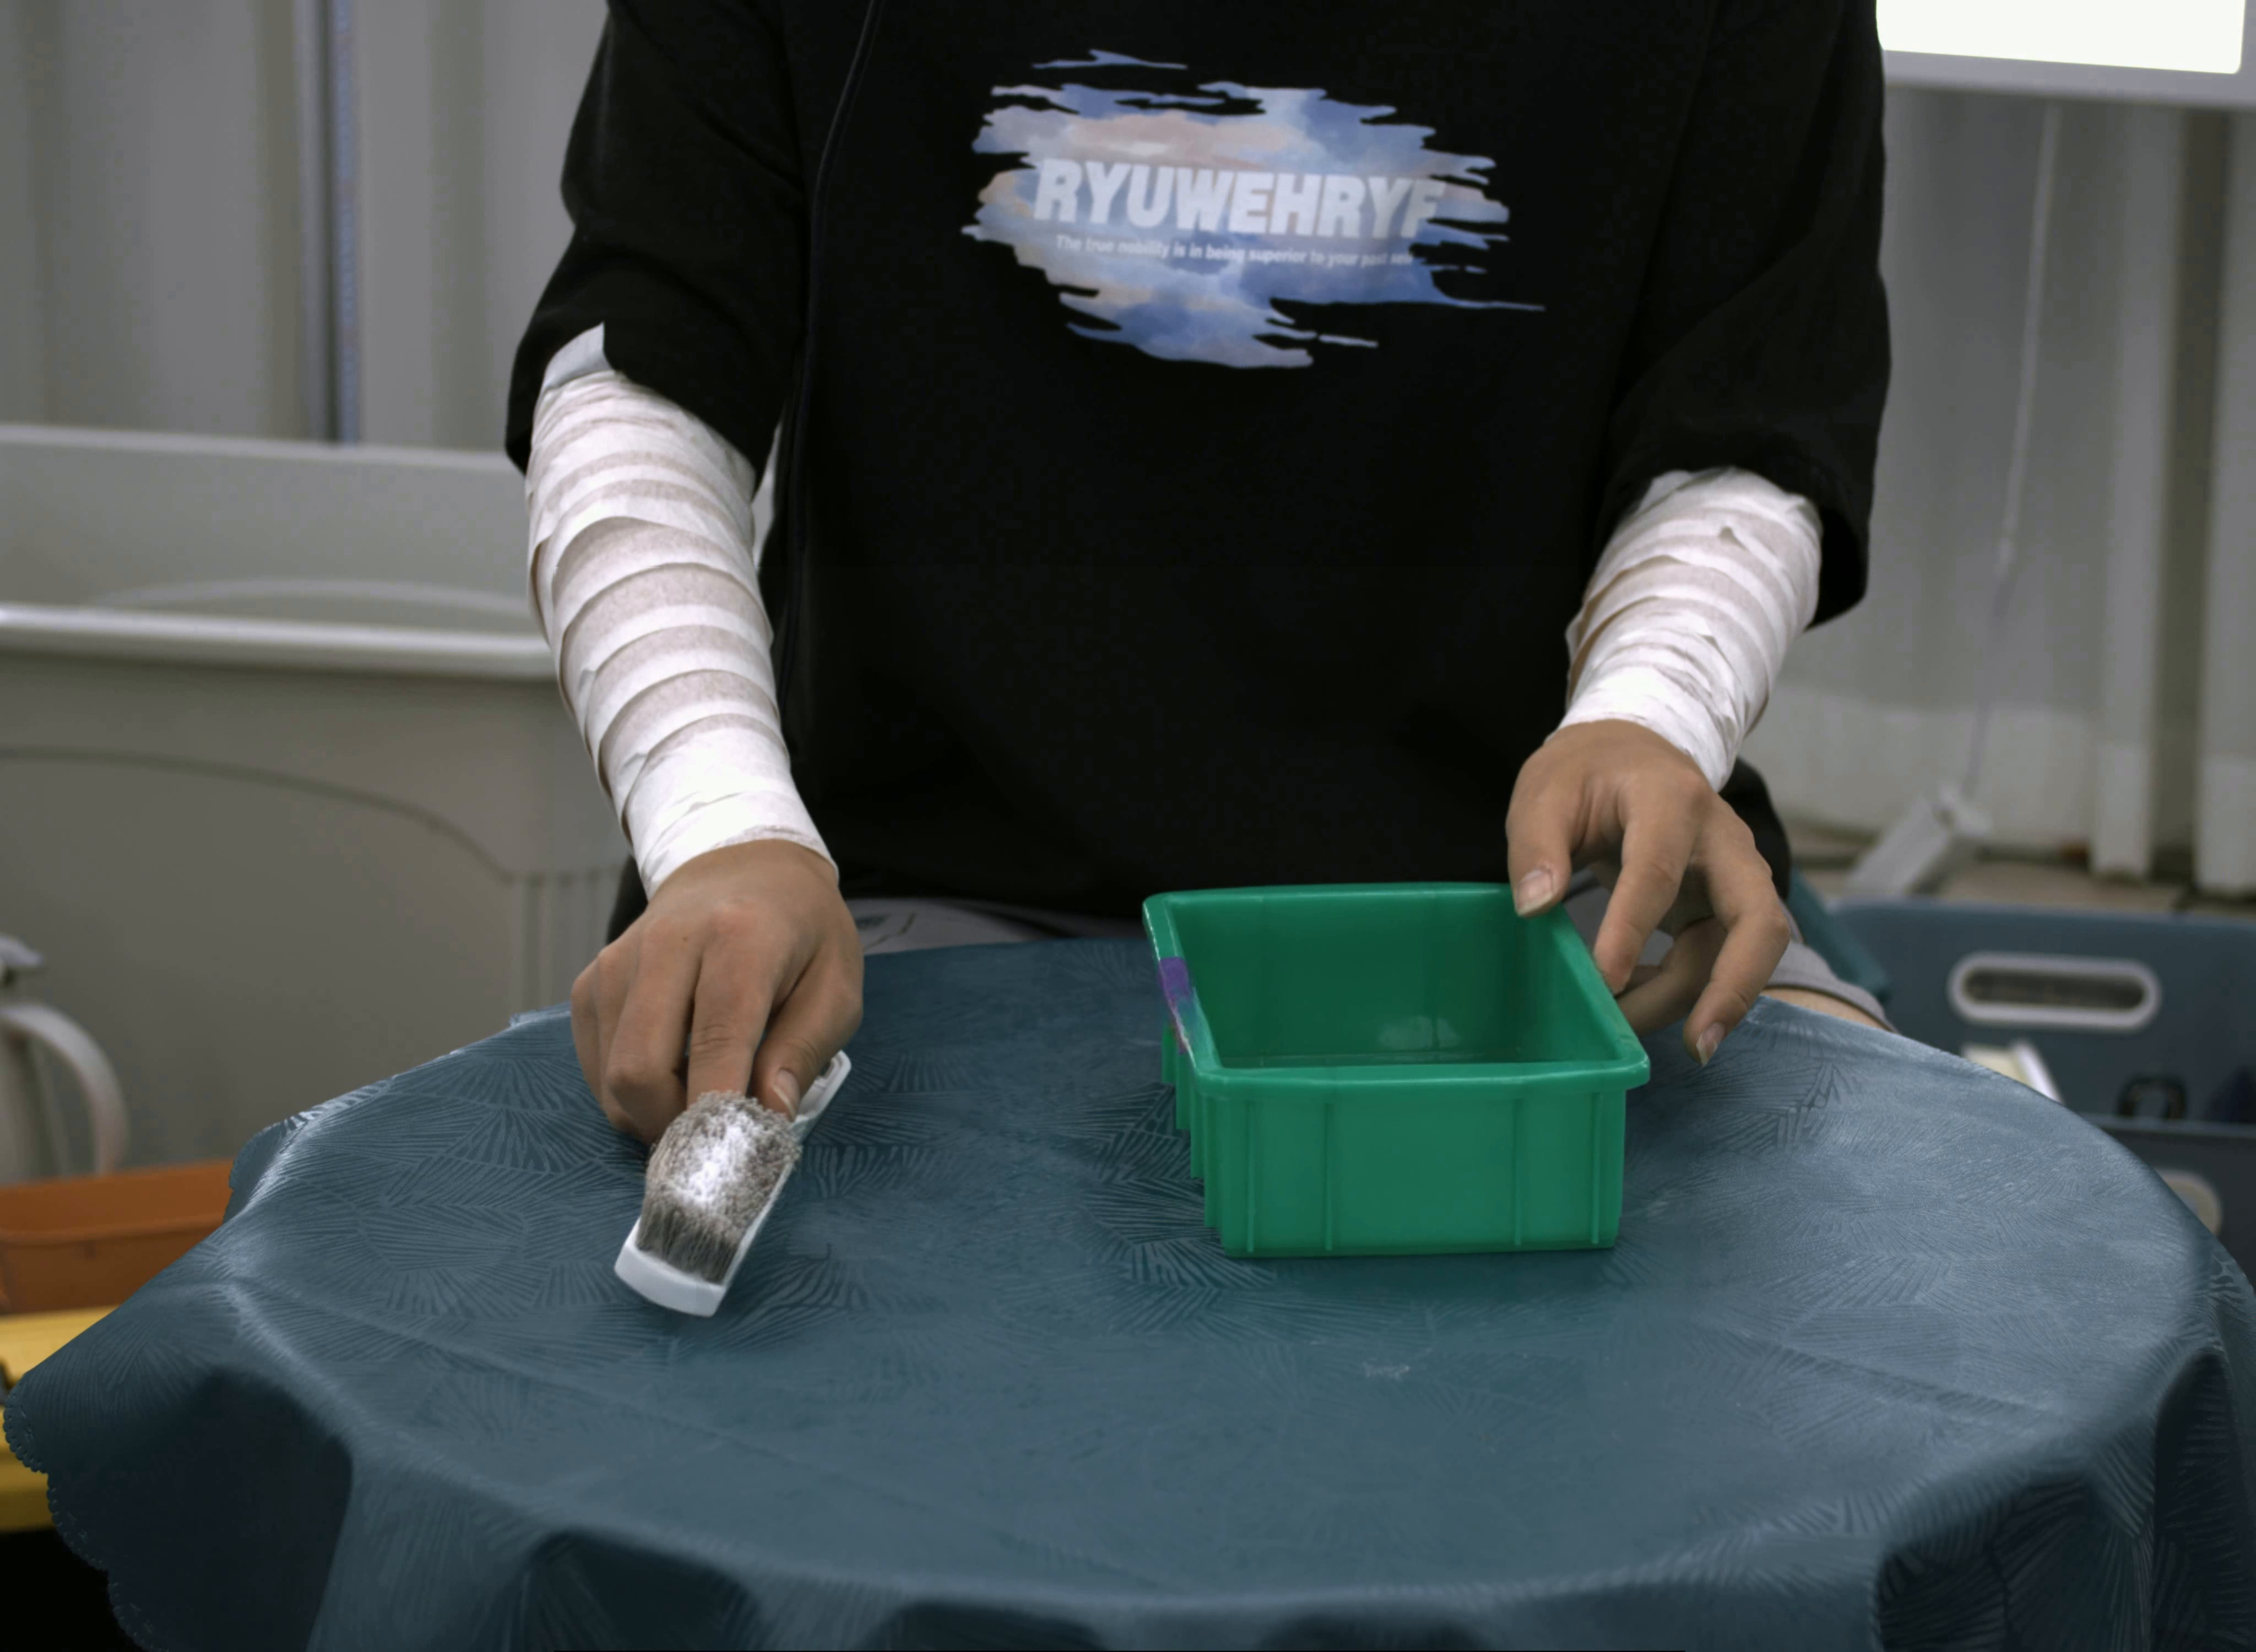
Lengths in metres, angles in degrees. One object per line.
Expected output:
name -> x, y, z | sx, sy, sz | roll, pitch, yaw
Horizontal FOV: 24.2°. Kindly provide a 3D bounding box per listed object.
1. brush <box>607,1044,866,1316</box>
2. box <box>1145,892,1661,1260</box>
brush -> -0.108, 0.089, 1.609 | 0.034, 0.050, 0.243 | 26, 17, 3
box -> 0.082, 0.076, 1.643 | 0.138, 0.066, 0.209 | -3, 15, -6
